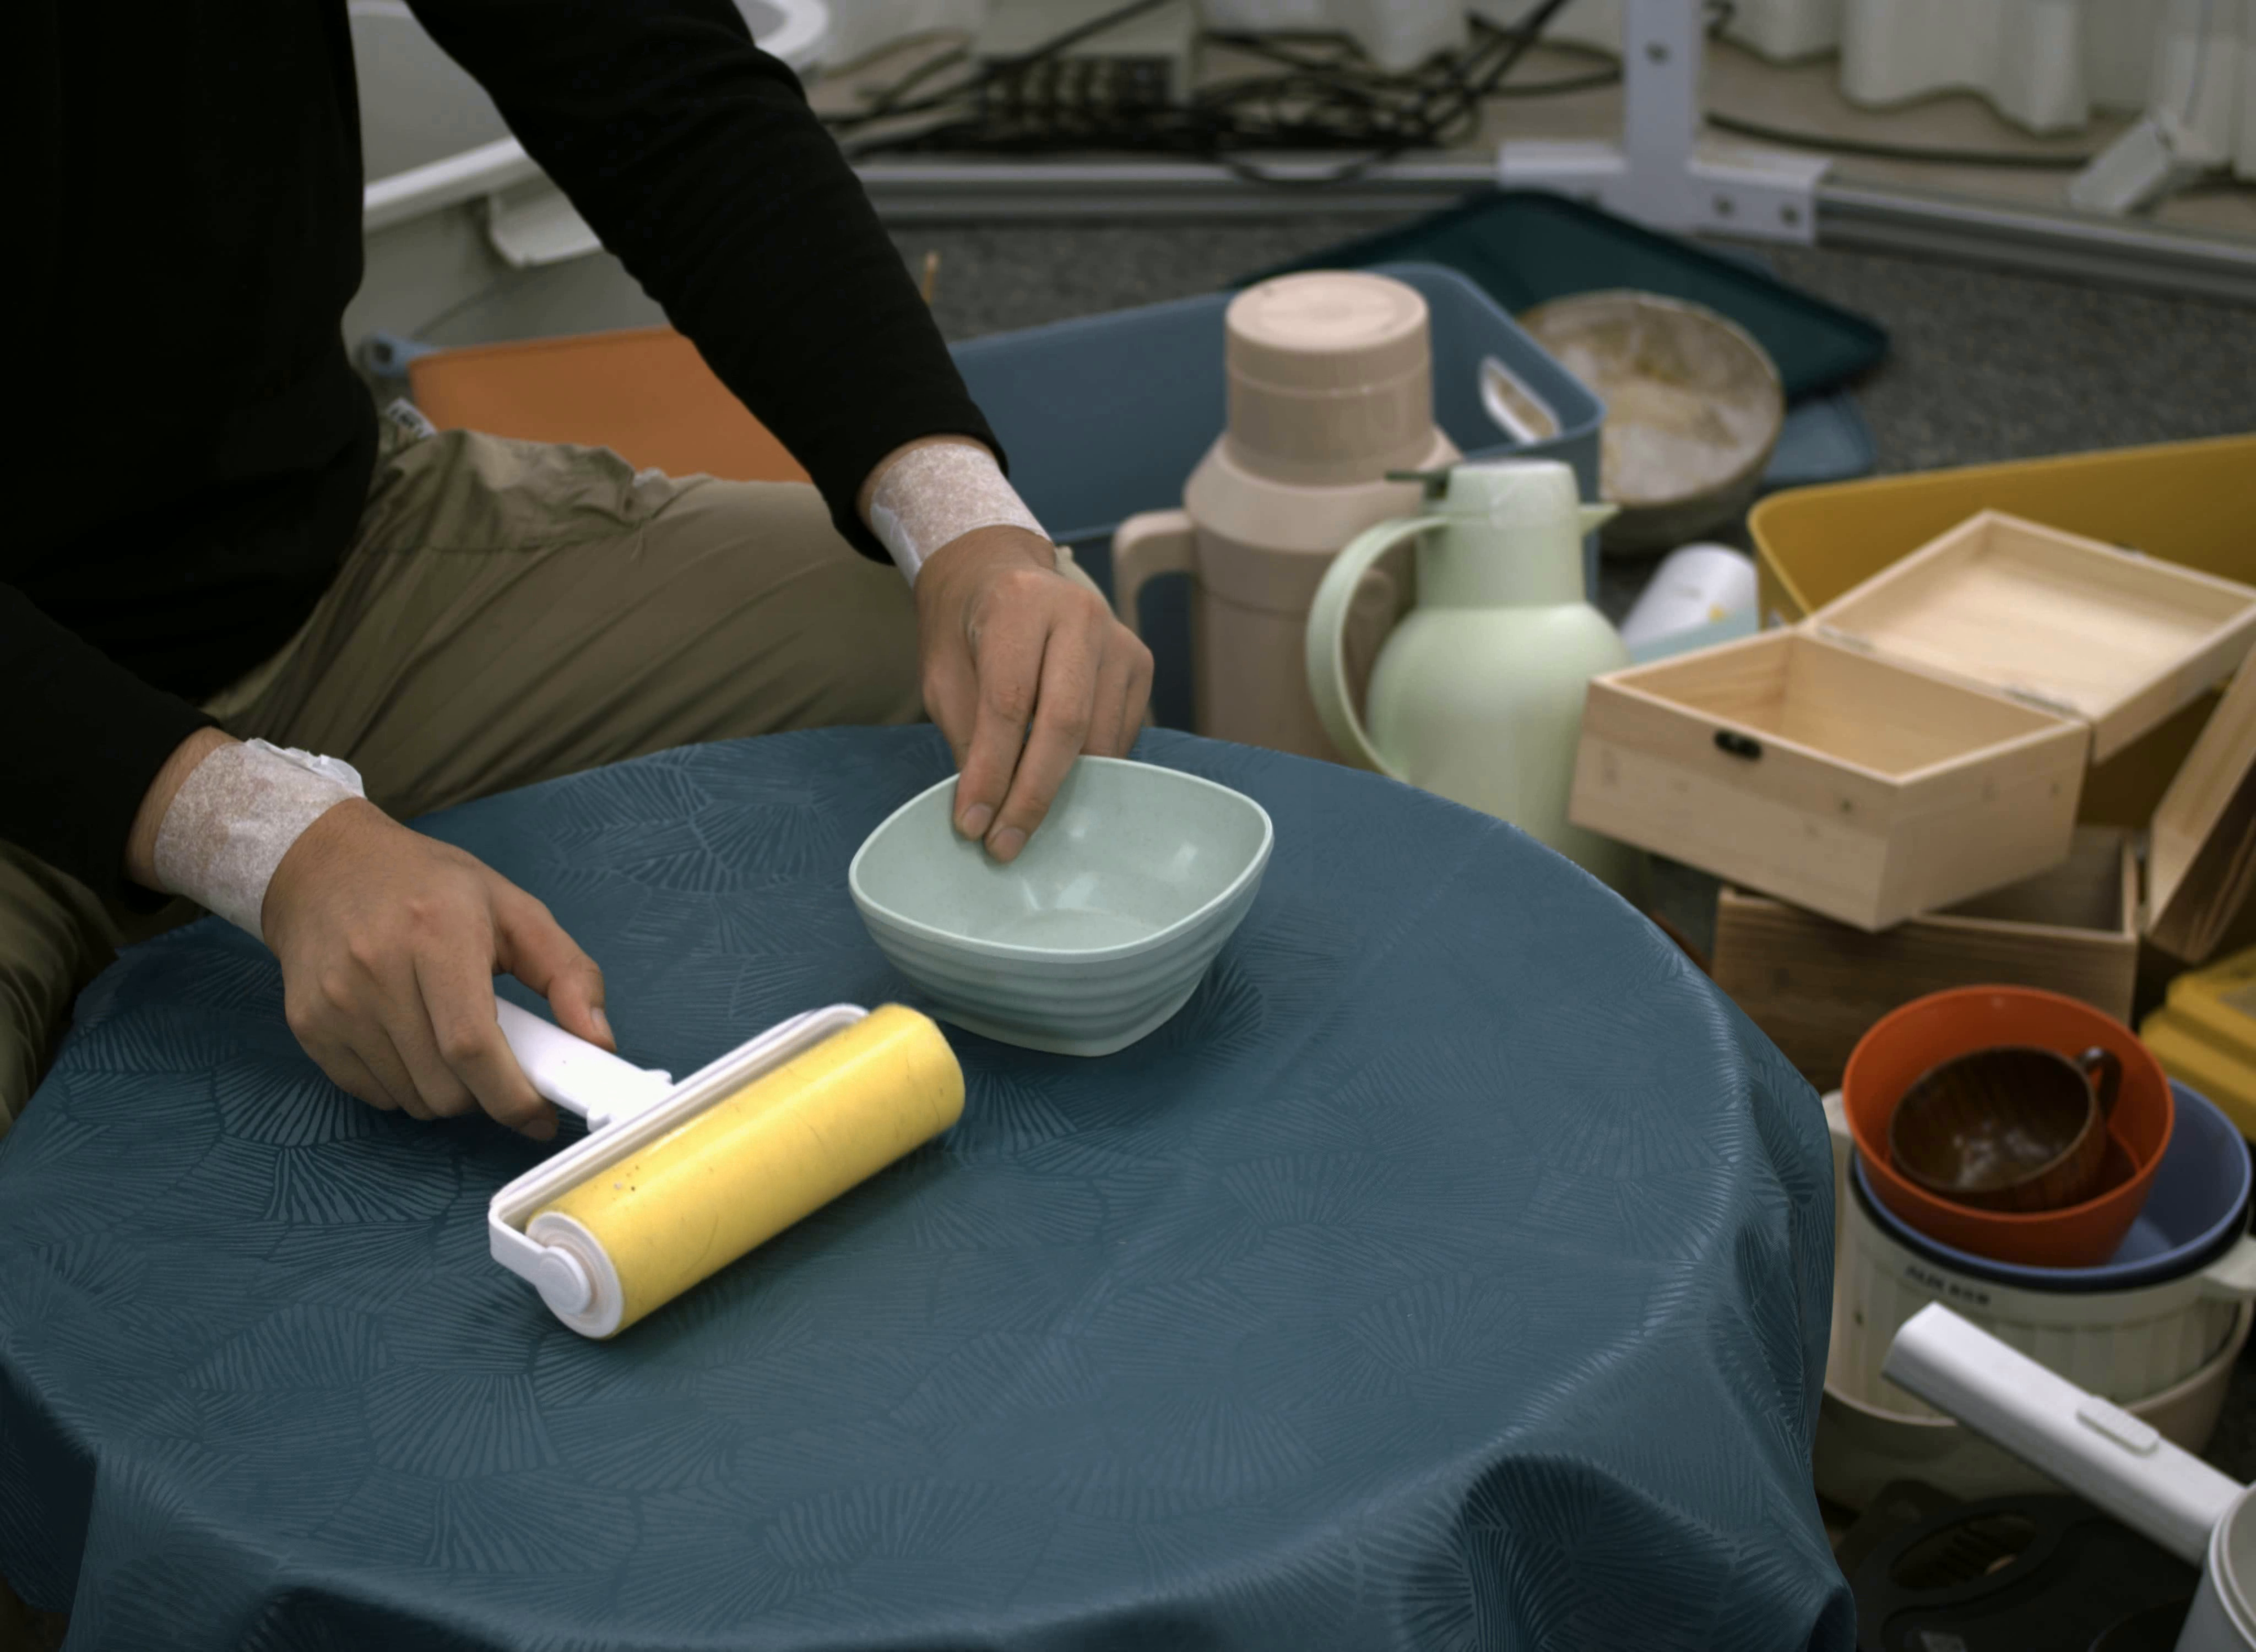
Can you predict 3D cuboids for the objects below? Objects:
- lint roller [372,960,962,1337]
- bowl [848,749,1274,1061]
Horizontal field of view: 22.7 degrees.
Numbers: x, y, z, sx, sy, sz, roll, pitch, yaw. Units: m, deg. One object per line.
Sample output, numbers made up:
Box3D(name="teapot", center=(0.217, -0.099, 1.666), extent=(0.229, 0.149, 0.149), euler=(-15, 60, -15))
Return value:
Box3D(name="lint roller", center=(-0.179, 0.080, 1.871), extent=(0.192, 0.050, 0.177), euler=(31, 41, 27))
Box3D(name="bowl", center=(-0.022, 0.033, 1.973), extent=(0.151, 0.058, 0.154), euler=(-1, 29, 1))
